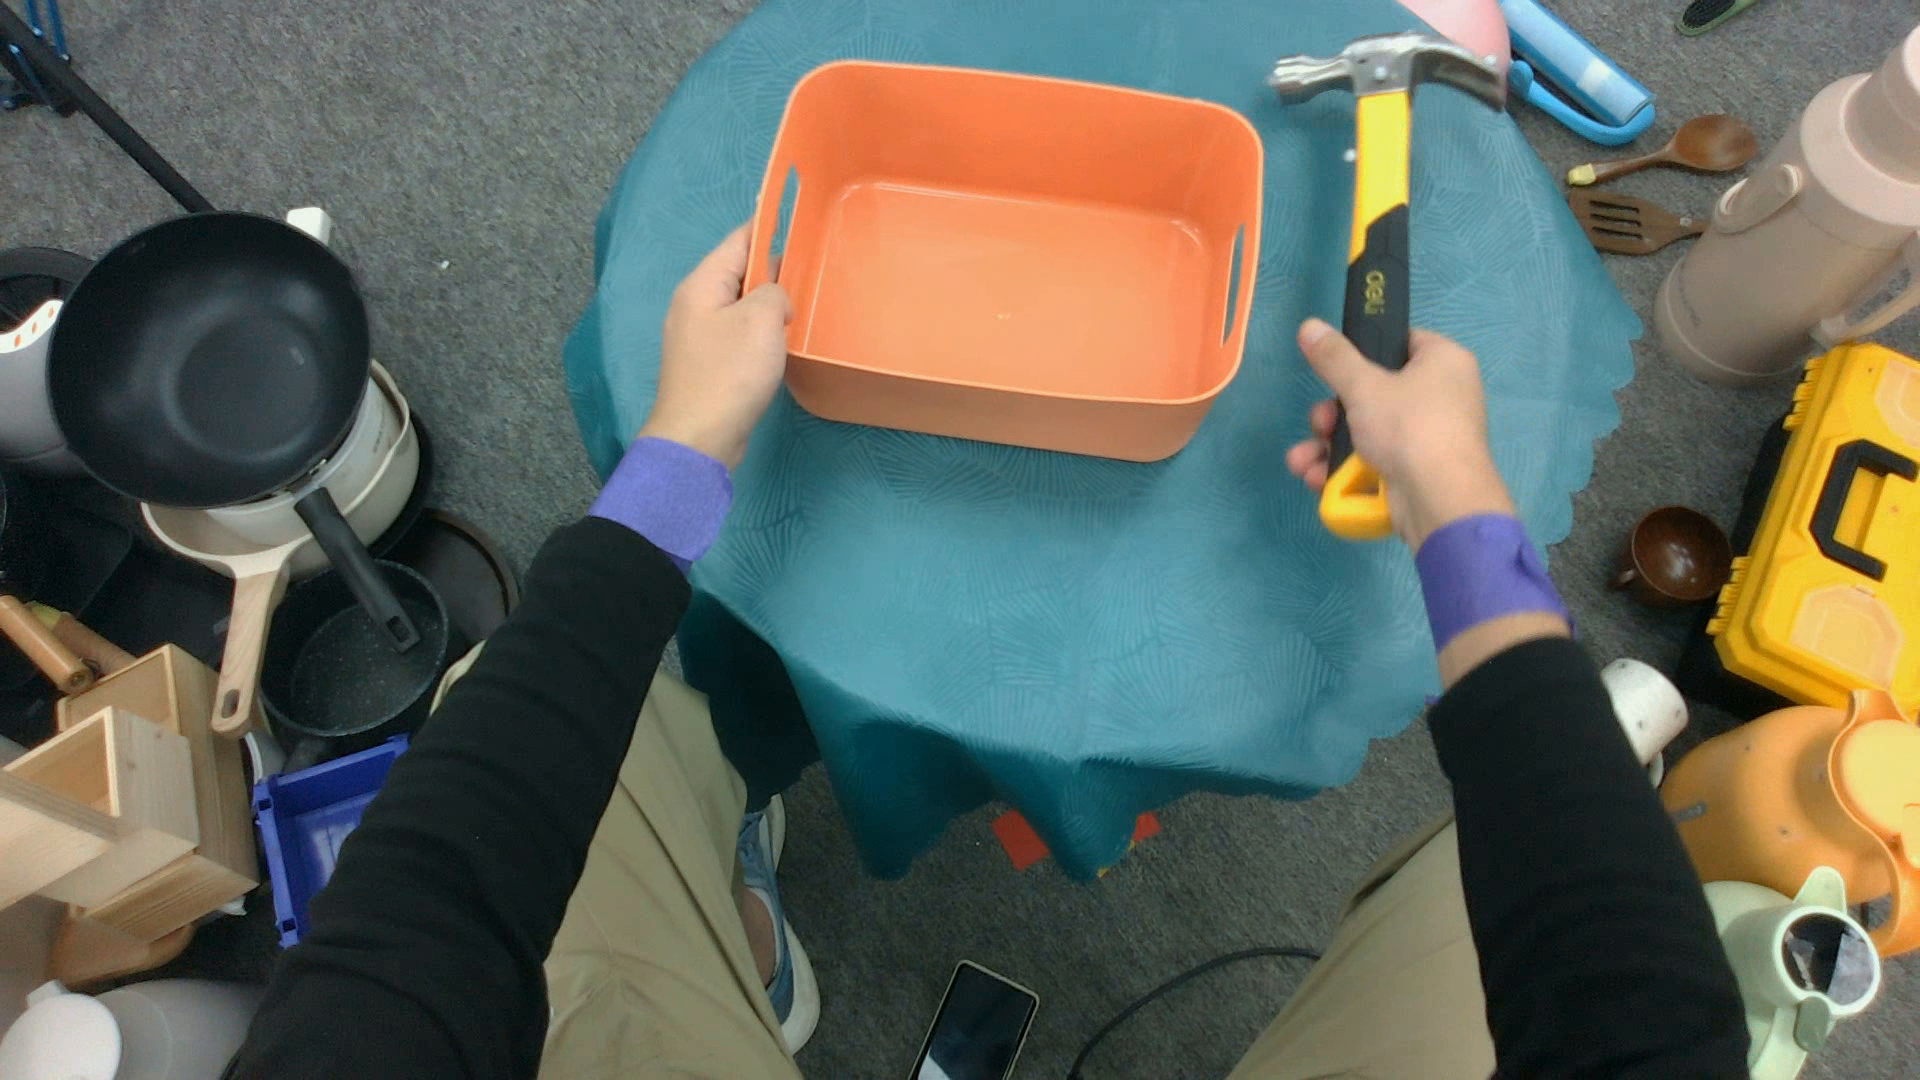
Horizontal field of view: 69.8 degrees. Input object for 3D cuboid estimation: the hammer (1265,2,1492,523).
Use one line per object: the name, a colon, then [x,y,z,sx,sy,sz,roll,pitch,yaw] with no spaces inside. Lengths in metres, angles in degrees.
hammer: [0.220,-0.164,0.765,0.131,0.032,0.339,-1,63,29]

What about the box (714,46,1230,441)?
box: [0.010,-0.163,0.792,0.273,0.102,0.200,7,70,2]
